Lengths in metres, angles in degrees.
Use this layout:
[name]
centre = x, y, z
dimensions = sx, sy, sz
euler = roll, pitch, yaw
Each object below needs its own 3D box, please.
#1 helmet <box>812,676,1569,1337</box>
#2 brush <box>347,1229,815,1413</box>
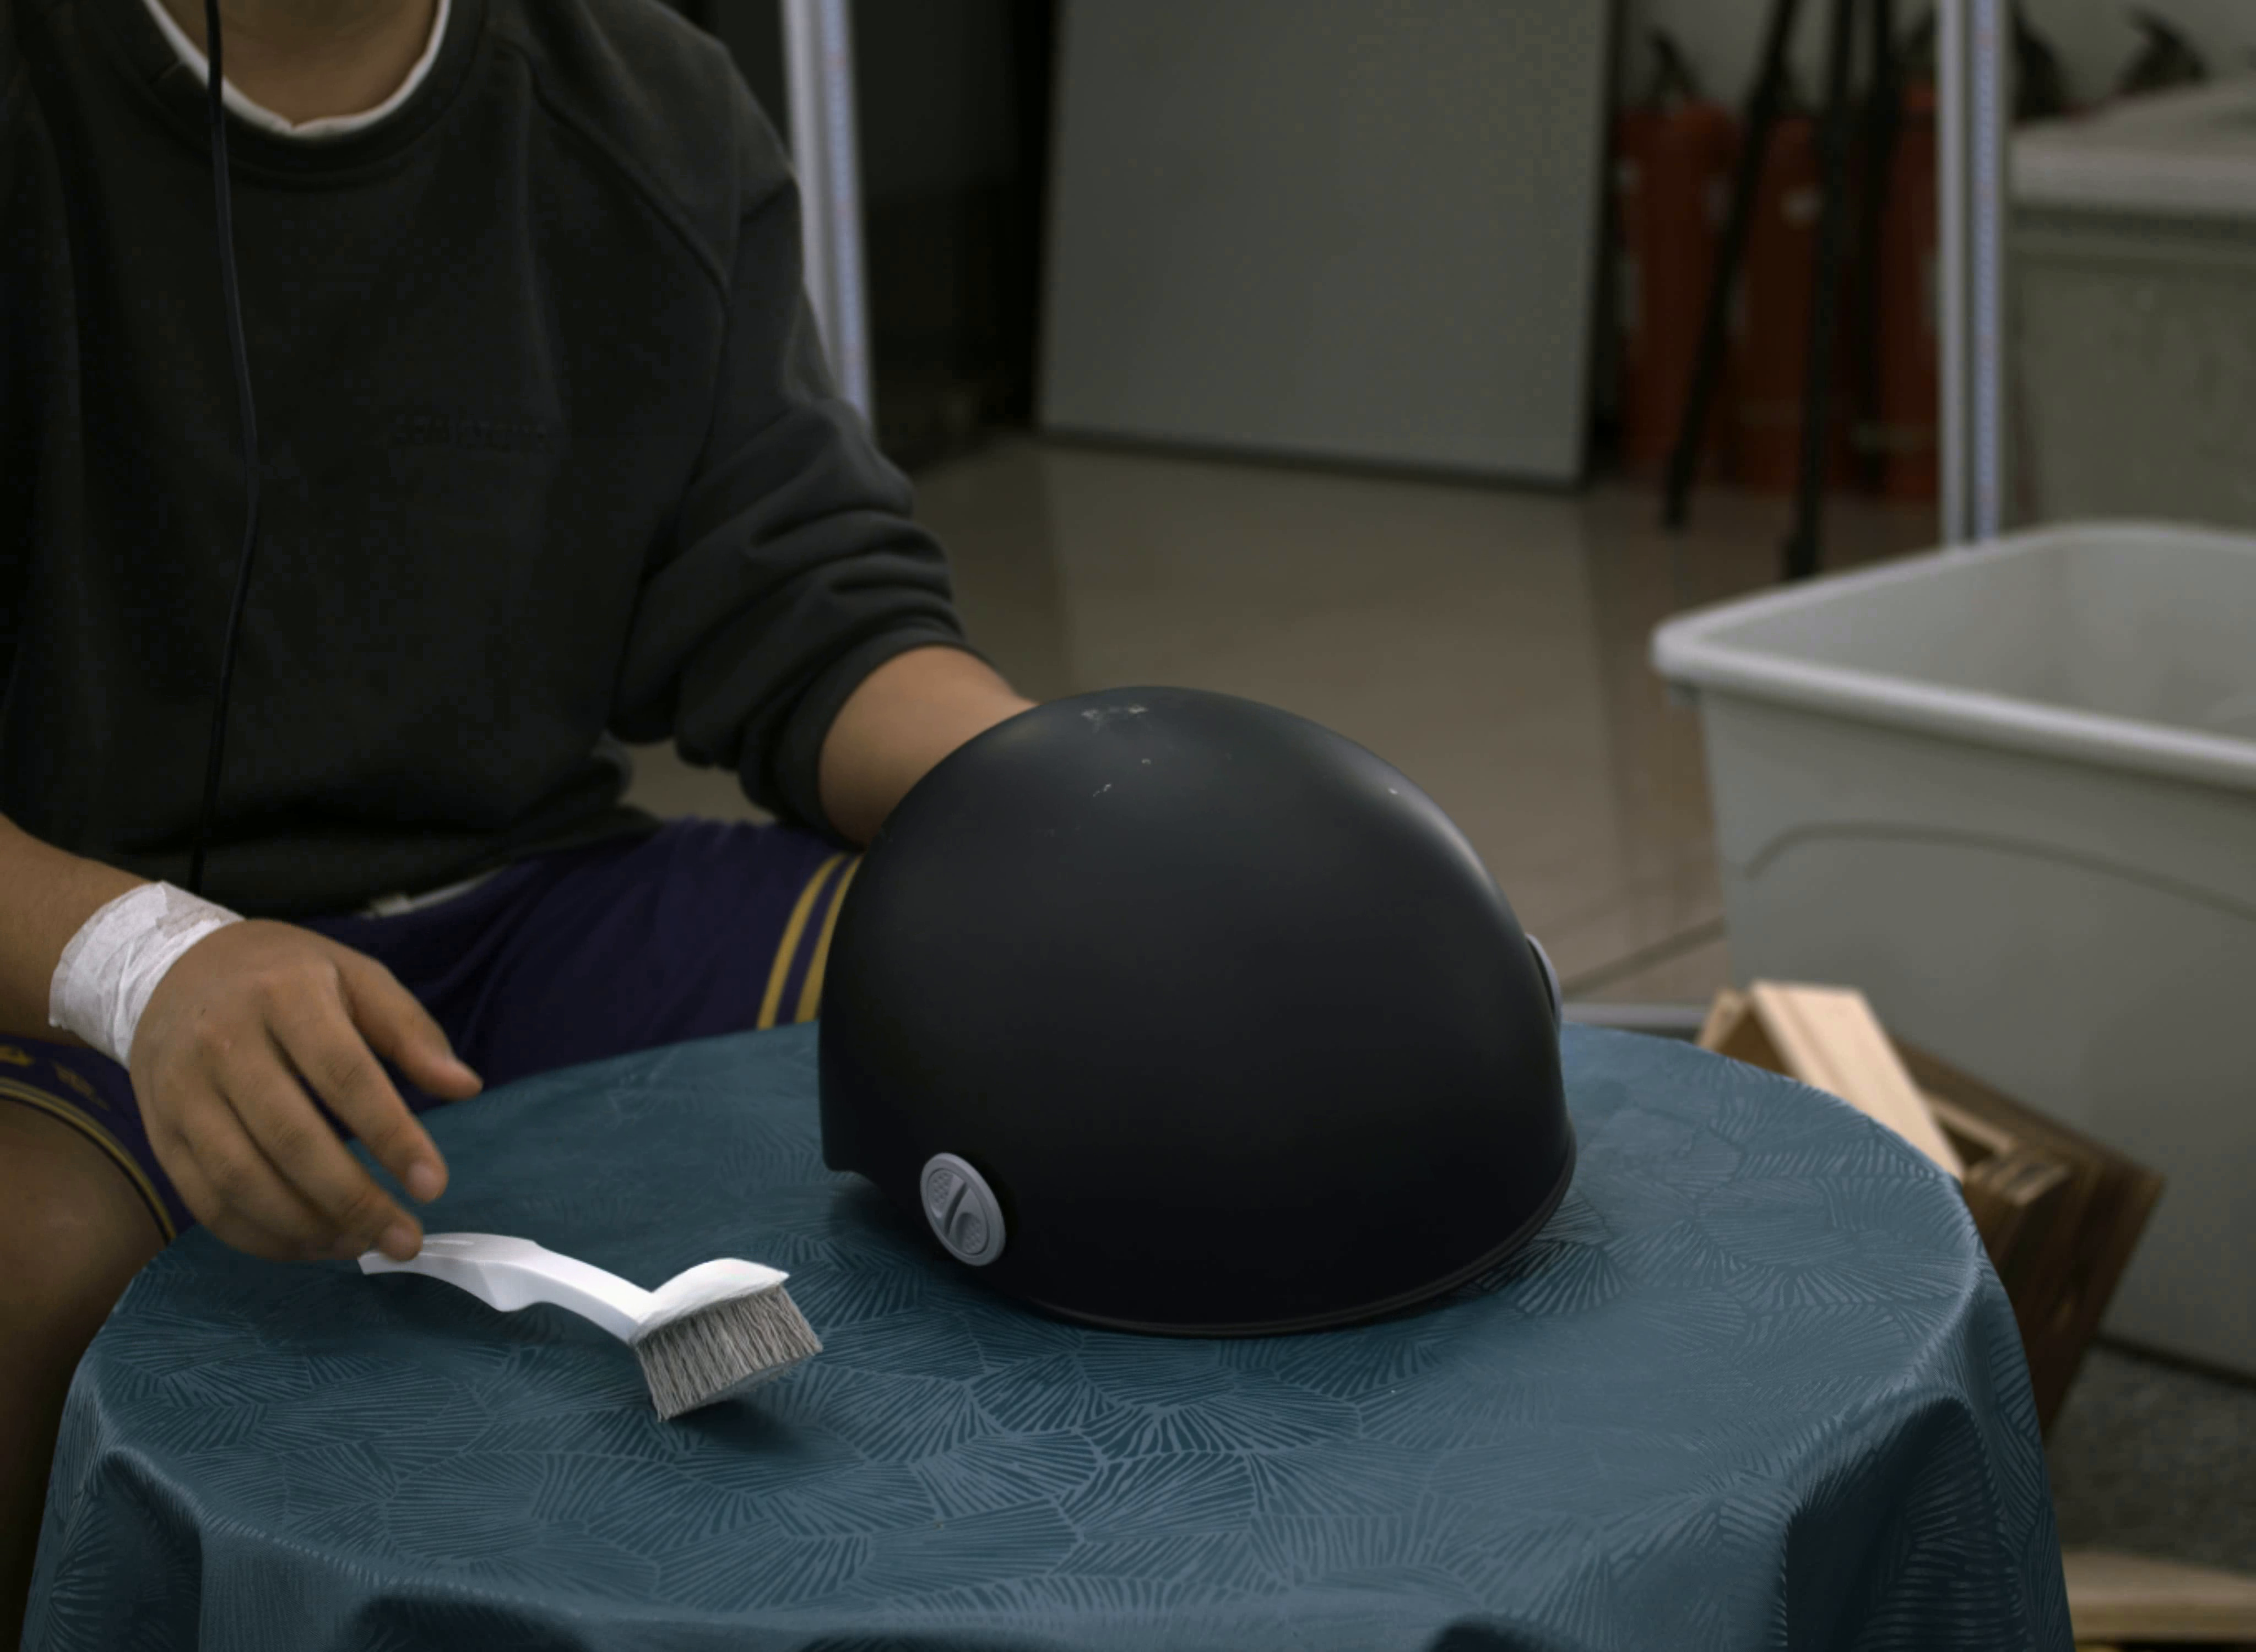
[helmet]
centre = 0.014, 0.043, 1.717
dimensions = 0.226, 0.168, 0.276
euler = -19, 23, -23
[brush]
centre = -0.170, 0.152, 1.644
dimensions = 0.033, 0.051, 0.246
euler = -17, 5, -35
